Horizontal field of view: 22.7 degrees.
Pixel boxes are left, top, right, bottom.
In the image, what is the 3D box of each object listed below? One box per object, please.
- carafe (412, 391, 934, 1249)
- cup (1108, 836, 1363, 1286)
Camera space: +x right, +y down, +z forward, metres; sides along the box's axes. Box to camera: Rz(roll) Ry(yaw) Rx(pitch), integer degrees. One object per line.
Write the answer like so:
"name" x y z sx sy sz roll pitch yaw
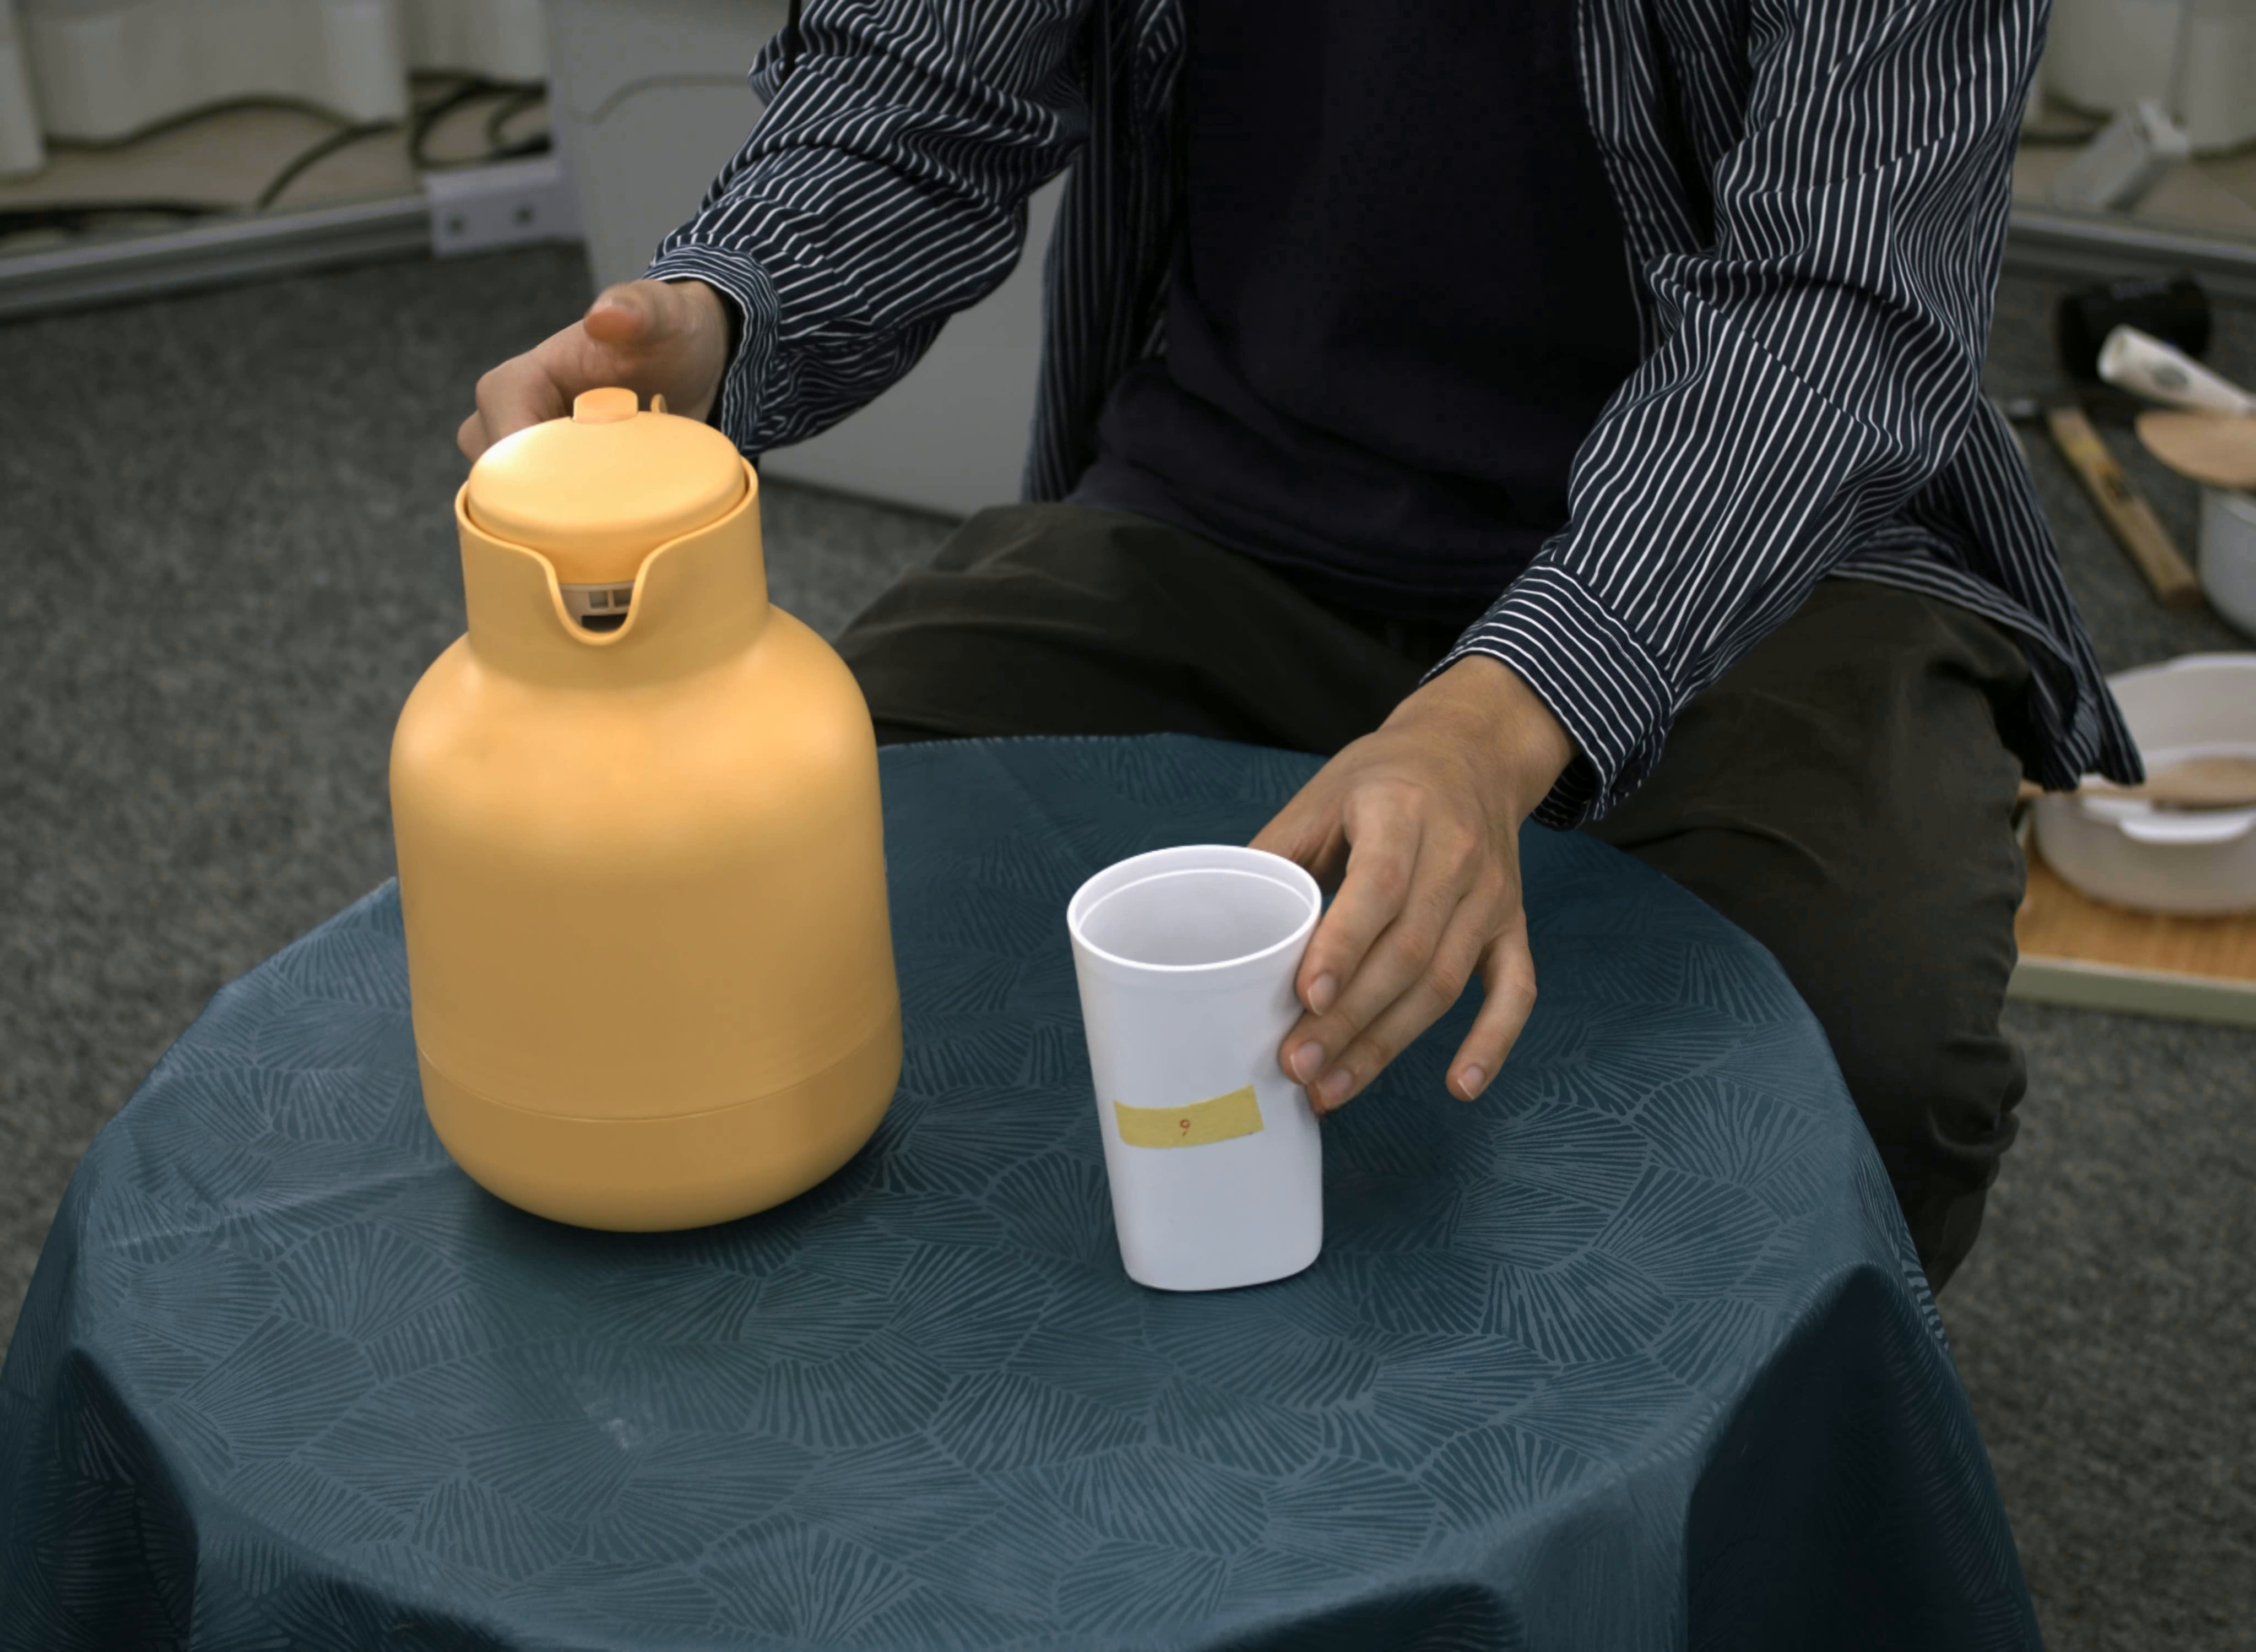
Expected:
"carafe" -0.151 -0.011 1.849 0.163 0.257 0.205 -4 27 -3
"cup" 0.039 0.077 1.797 0.081 0.124 0.083 -4 26 2
